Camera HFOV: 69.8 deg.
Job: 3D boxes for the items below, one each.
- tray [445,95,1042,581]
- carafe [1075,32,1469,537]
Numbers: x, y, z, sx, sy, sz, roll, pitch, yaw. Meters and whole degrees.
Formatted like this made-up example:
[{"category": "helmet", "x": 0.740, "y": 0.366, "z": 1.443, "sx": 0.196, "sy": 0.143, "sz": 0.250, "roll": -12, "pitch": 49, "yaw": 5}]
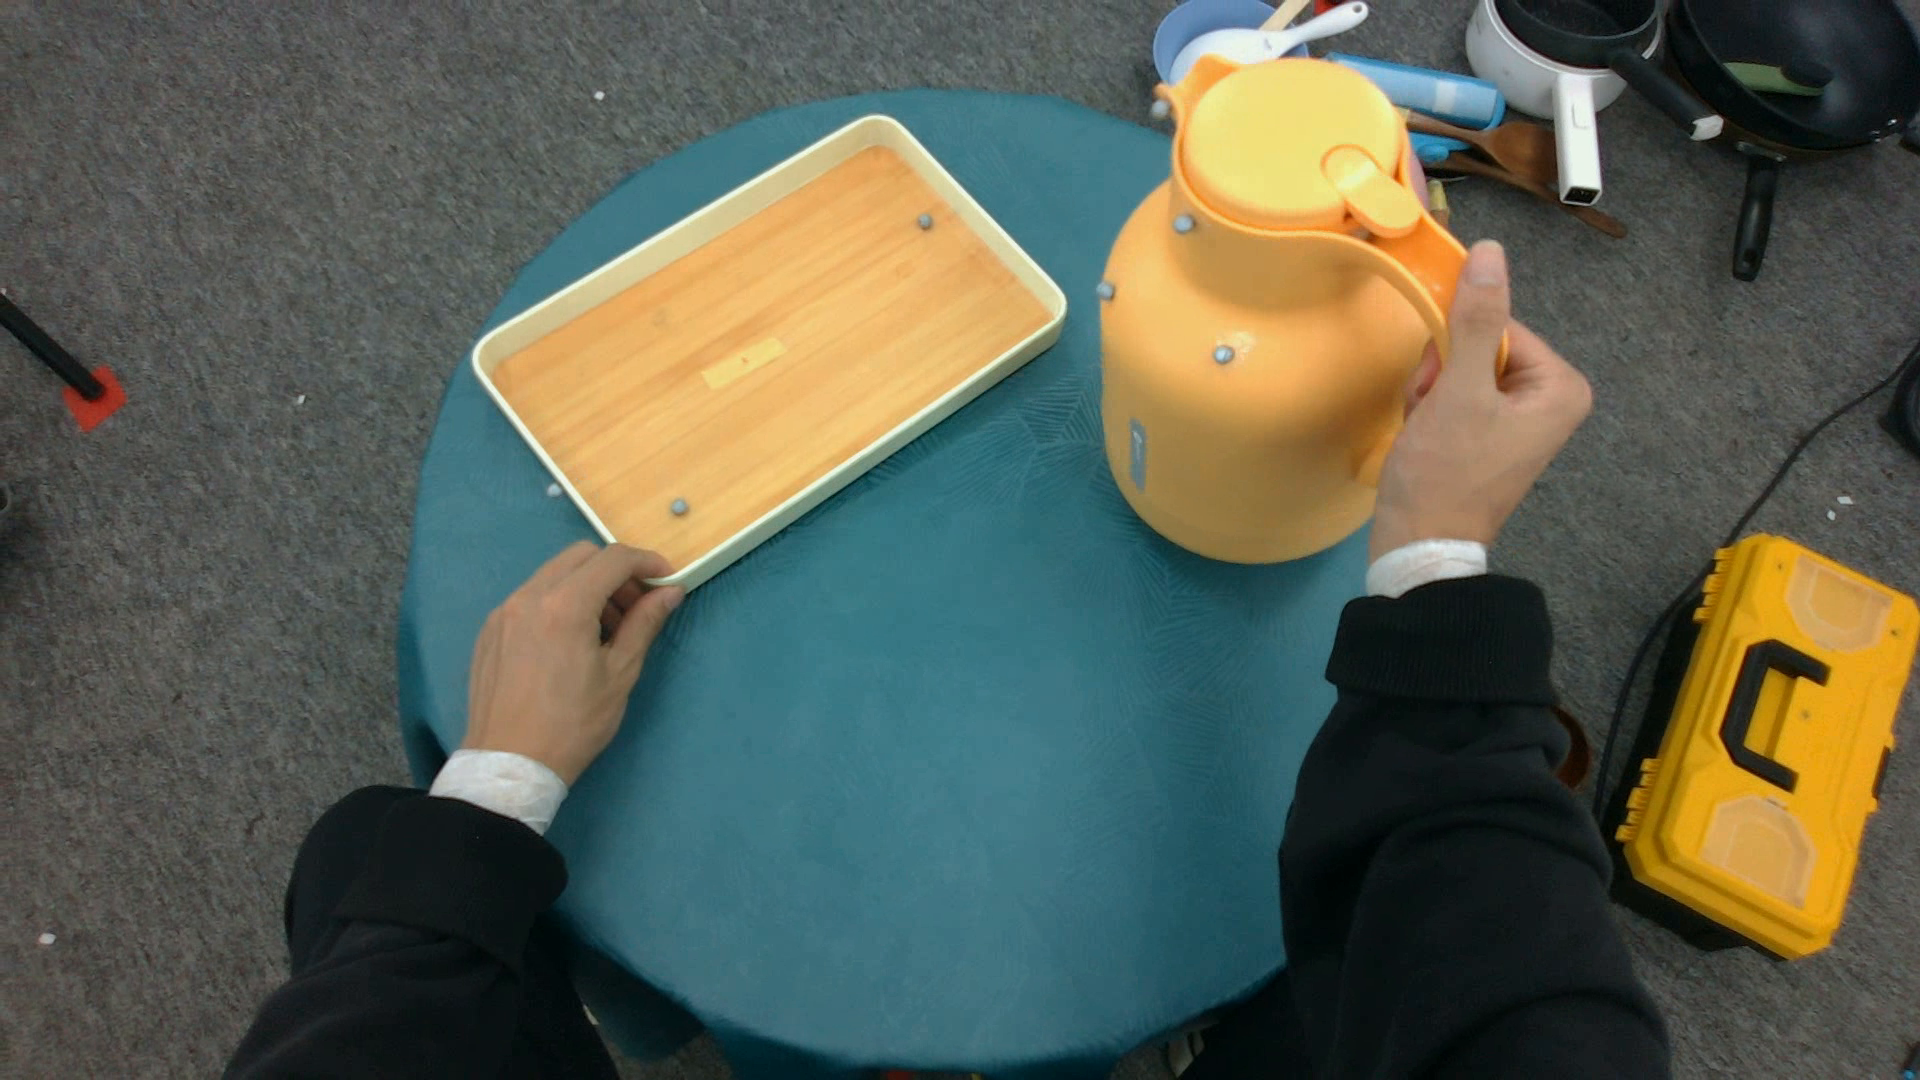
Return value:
[{"category": "tray", "x": -0.120, "y": -0.127, "z": 0.795, "sx": 0.301, "sy": 0.027, "sz": 0.192, "roll": -36, "pitch": 72, "yaw": -18}, {"category": "carafe", "x": 0.149, "y": -0.108, "z": 0.669, "sx": 0.164, "sy": 0.259, "sz": 0.202, "roll": -37, "pitch": 62, "yaw": -10}]
